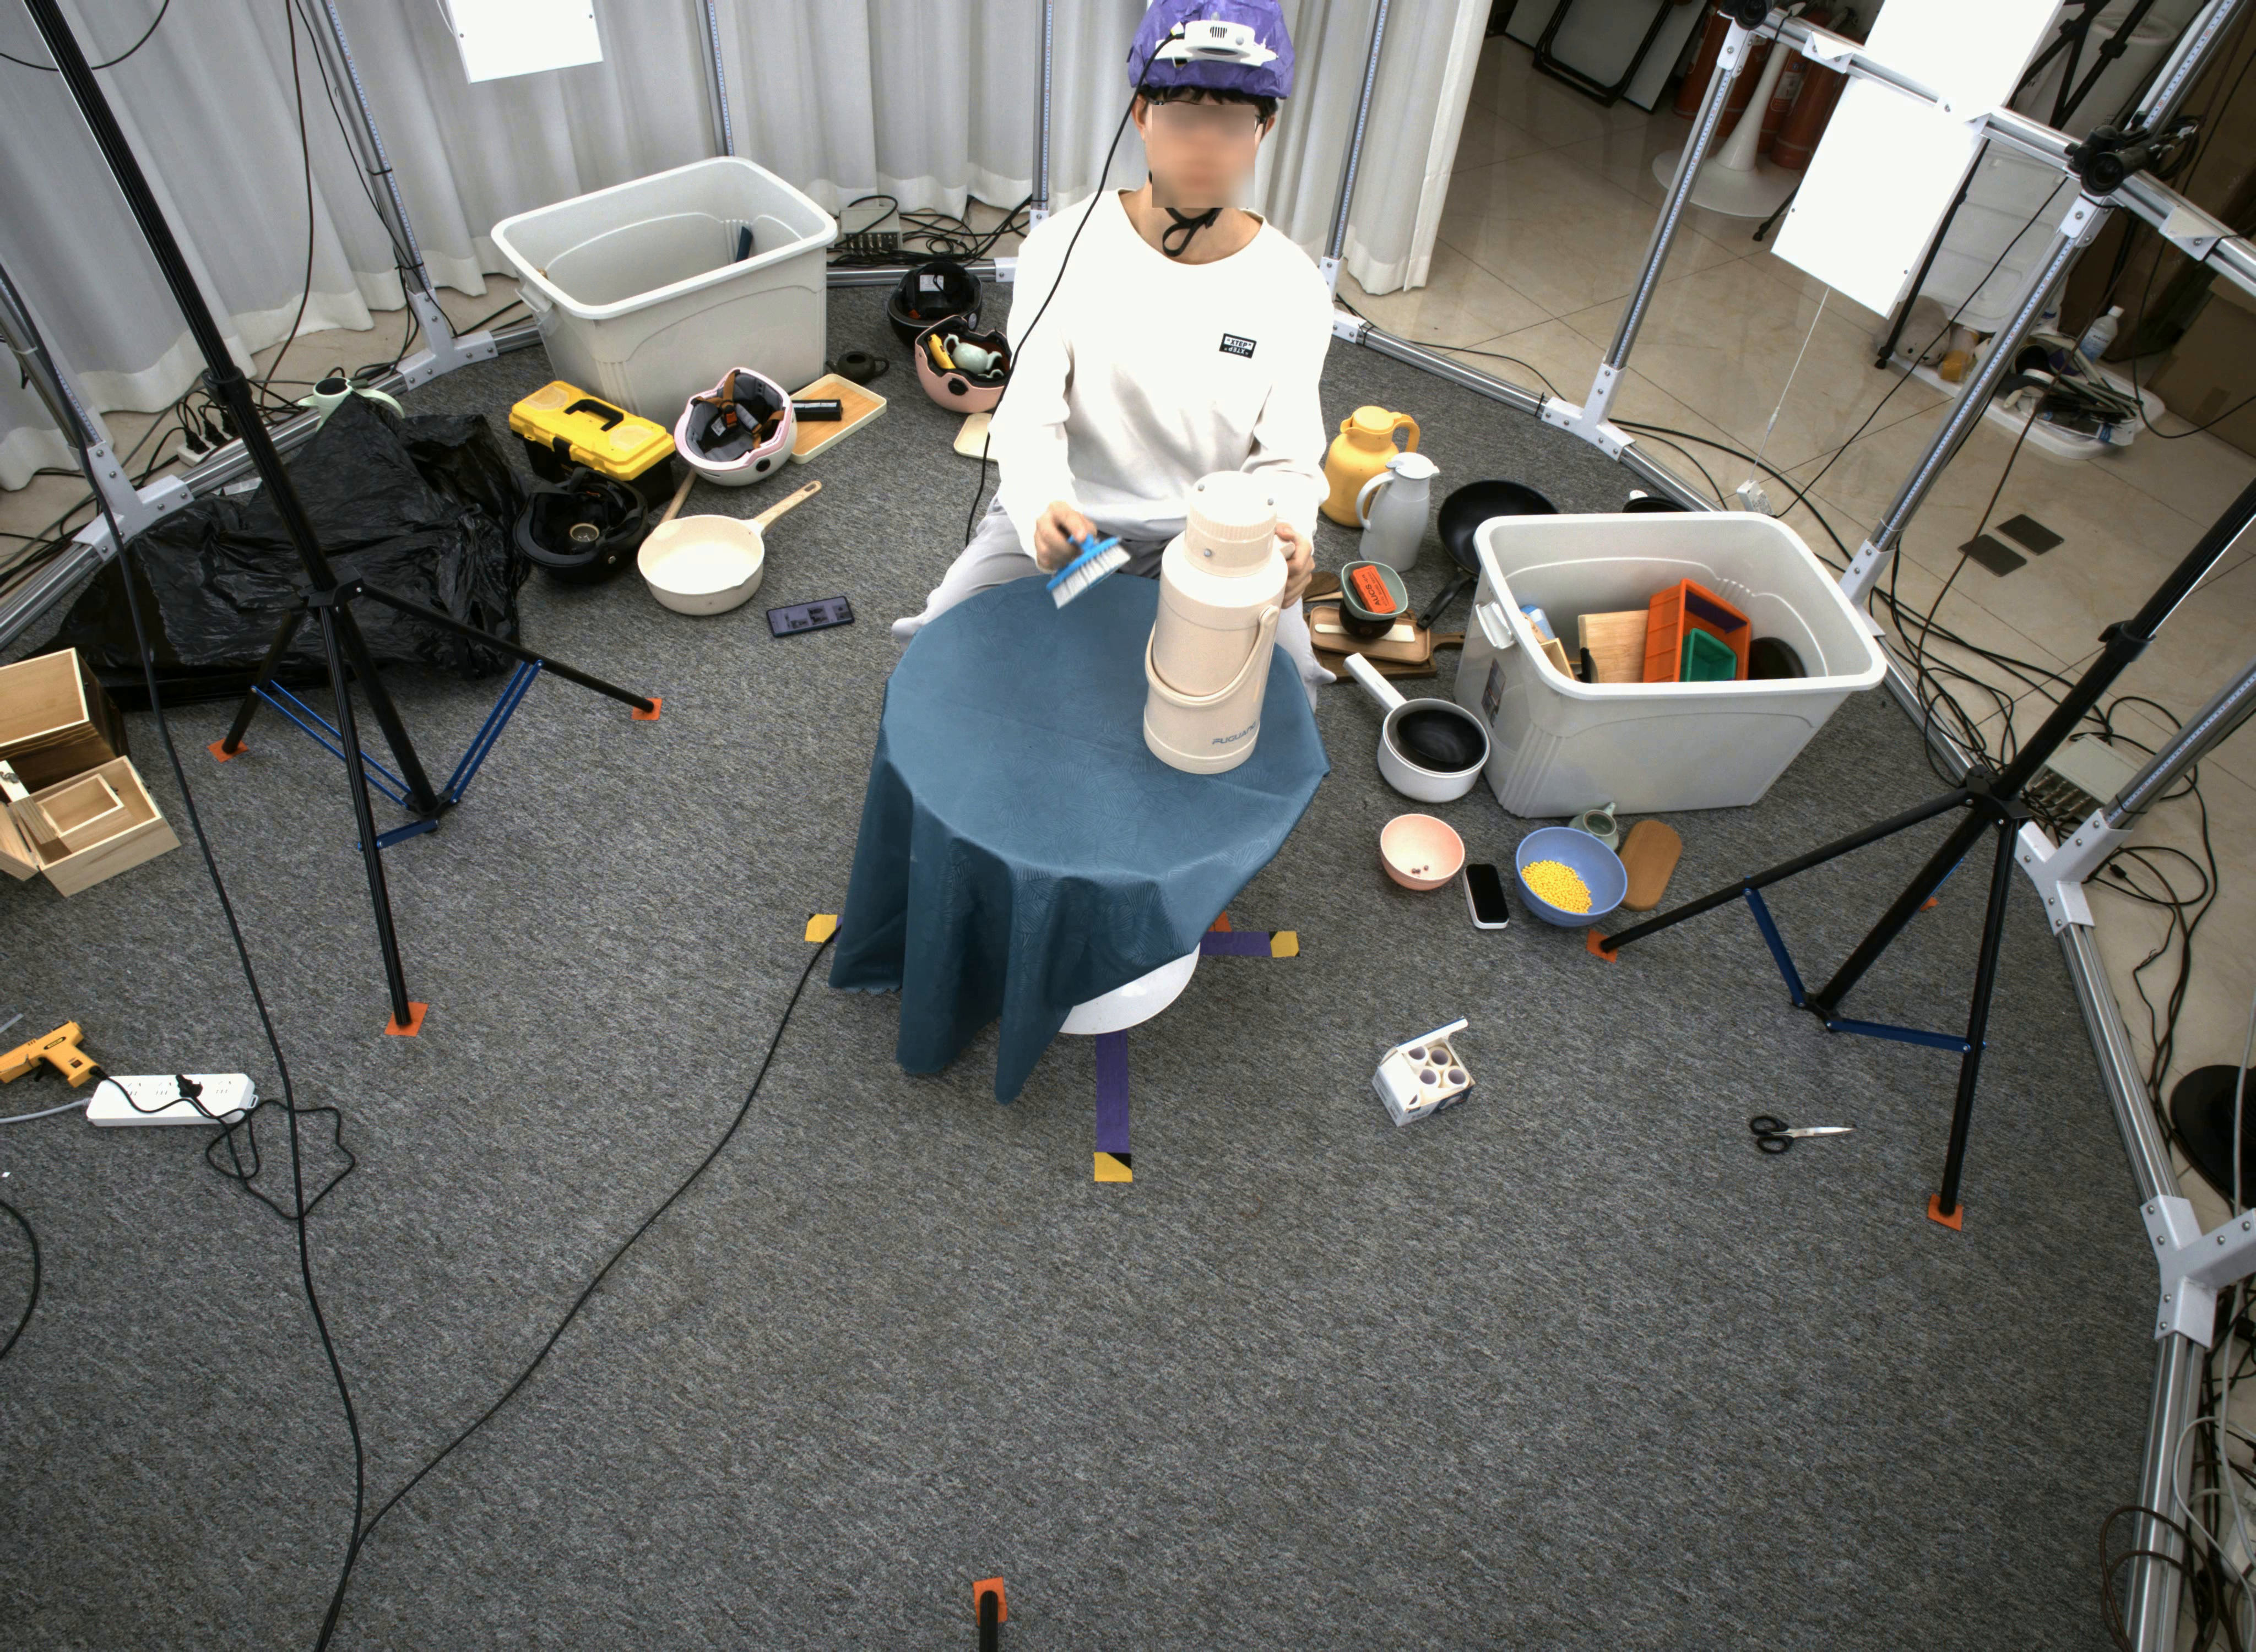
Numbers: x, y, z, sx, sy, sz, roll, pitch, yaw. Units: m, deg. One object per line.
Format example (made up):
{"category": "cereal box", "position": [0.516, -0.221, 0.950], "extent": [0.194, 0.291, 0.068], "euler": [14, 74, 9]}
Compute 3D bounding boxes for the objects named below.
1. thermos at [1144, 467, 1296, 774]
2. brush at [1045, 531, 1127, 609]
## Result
{"category": "thermos", "position": [0.124, -0.263, 1.645], "extent": [0.208, 0.396, 0.178], "euler": [-31, 57, -28]}
{"category": "brush", "position": [-0.062, -0.323, 1.587], "extent": [0.085, 0.141, 0.063], "euler": [-42, 99, -23]}
